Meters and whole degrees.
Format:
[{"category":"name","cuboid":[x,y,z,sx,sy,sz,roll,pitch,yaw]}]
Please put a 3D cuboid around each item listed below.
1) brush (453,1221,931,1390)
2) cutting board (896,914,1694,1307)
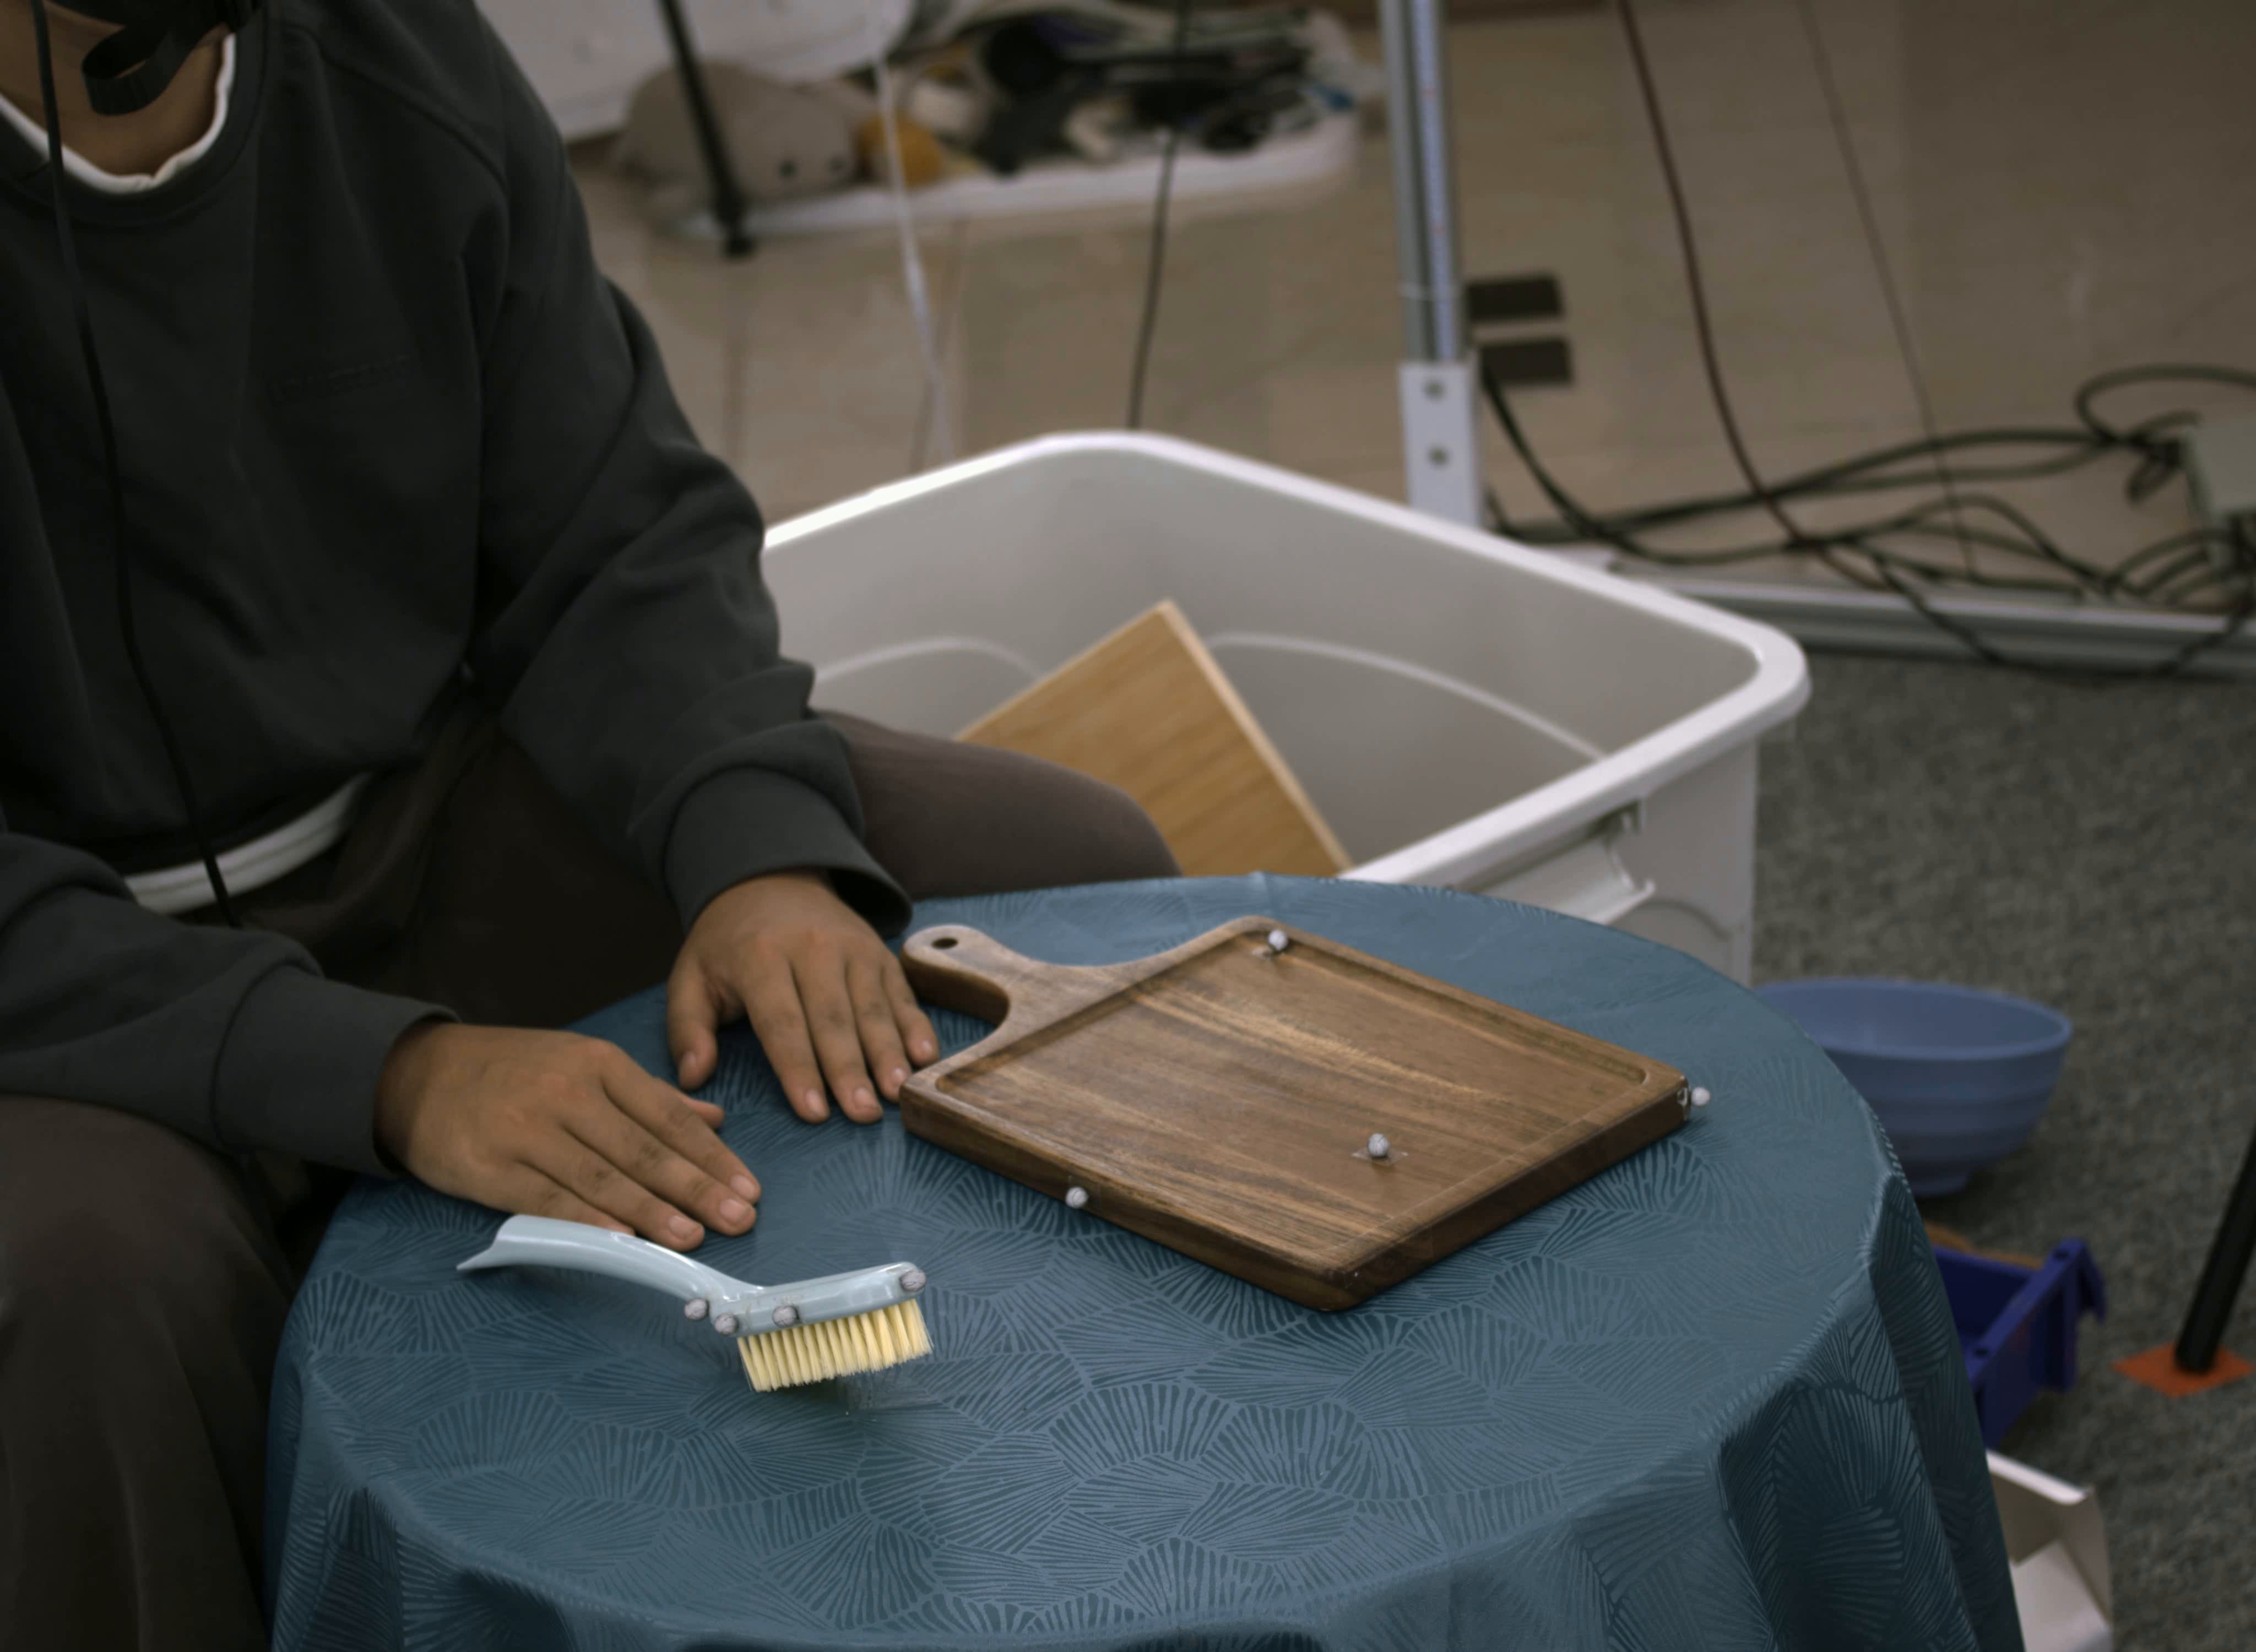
[{"category":"brush","cuboid":[-0.163,0.174,2.073,0.228,0.050,0.037,4,14,39]},{"category":"cutting board","cuboid":[0.030,0.093,2.217,0.199,0.023,0.349,-25,30,-35]}]
